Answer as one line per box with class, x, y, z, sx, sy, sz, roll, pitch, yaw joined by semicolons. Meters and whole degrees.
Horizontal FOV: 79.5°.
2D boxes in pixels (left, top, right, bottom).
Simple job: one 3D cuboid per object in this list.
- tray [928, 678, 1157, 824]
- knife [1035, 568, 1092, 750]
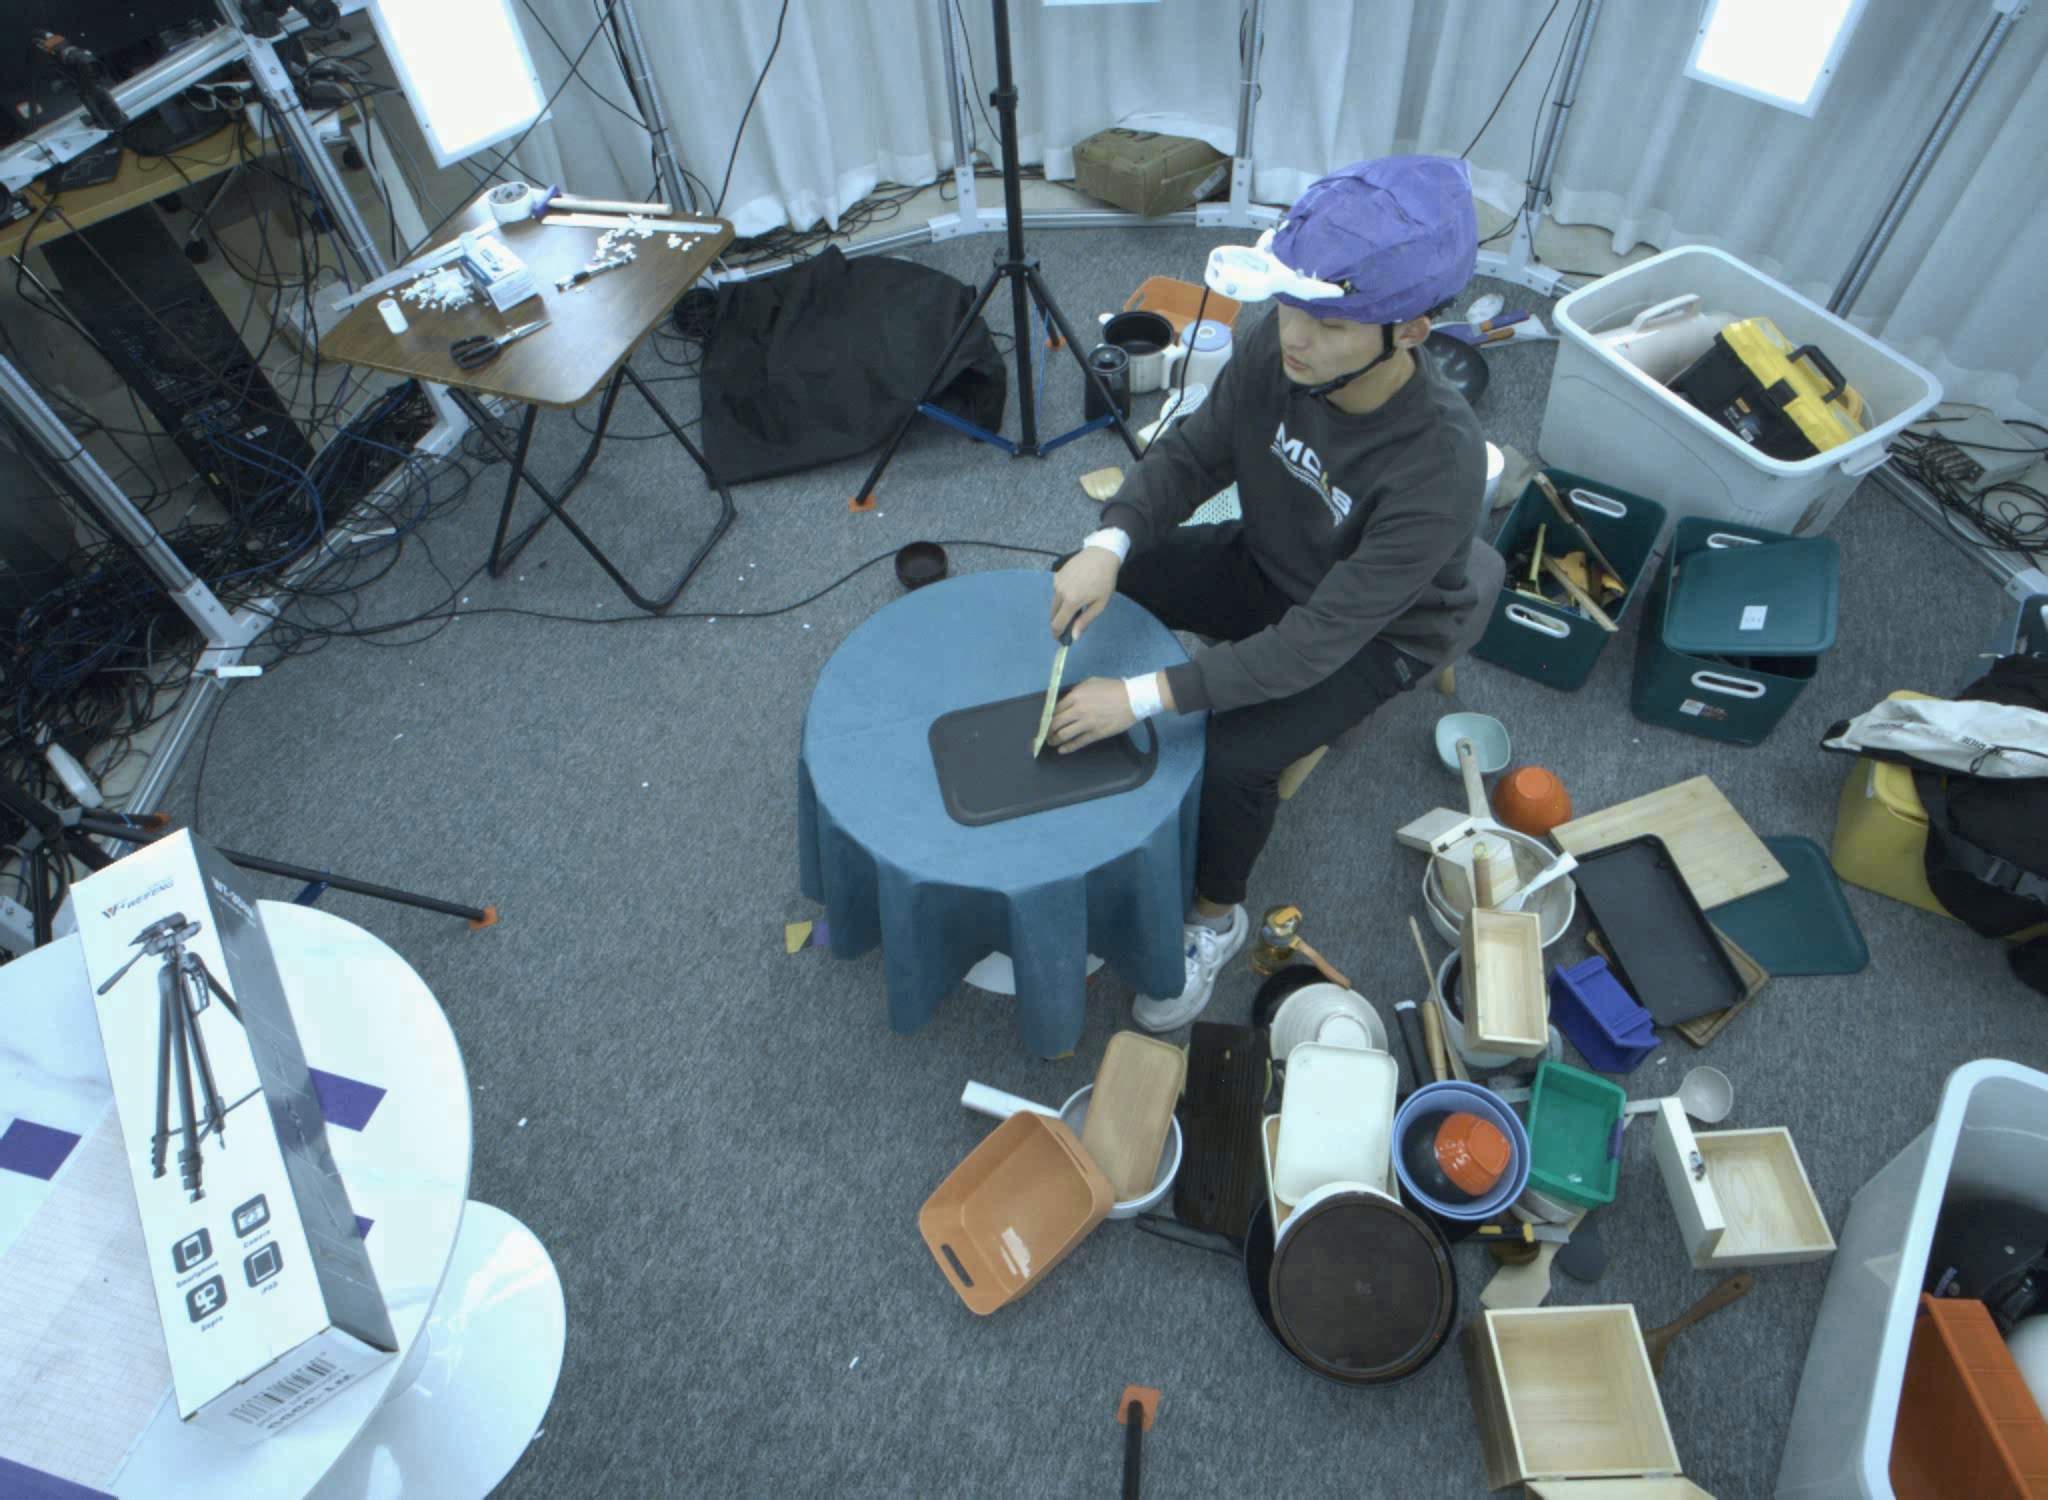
tray;0.030;-0.006;1.794;0.327;0.010;0.208;-13;55;-7
knife;0.054;-0.134;1.805;0.027;0.080;0.288;18;75;-11
